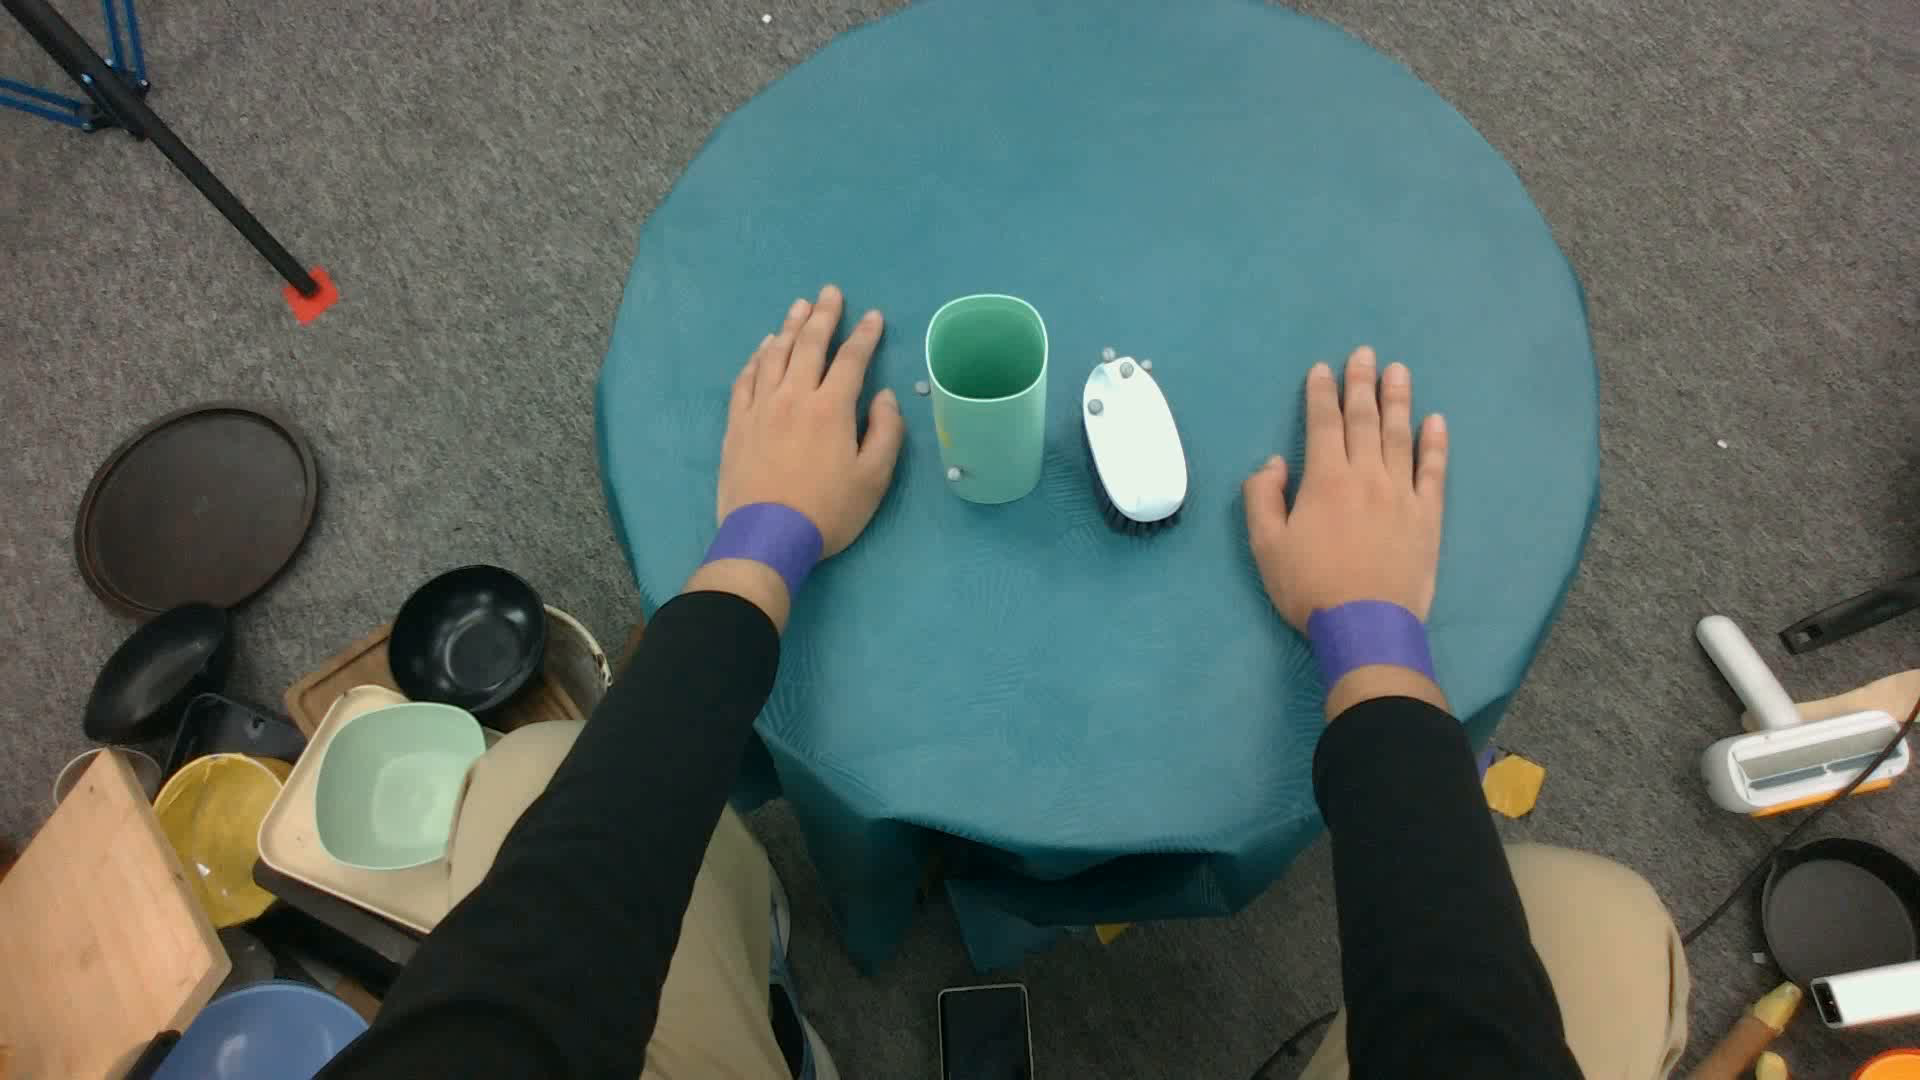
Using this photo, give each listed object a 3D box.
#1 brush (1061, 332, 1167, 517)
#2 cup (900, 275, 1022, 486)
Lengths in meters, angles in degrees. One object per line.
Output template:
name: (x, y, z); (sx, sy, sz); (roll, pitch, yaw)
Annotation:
brush: (0.088, -0.071, 0.776); (0.050, 0.072, 0.099); (-12, 67, -2)
cup: (0.004, -0.084, 0.758); (0.067, 0.132, 0.067); (0, 68, 1)
